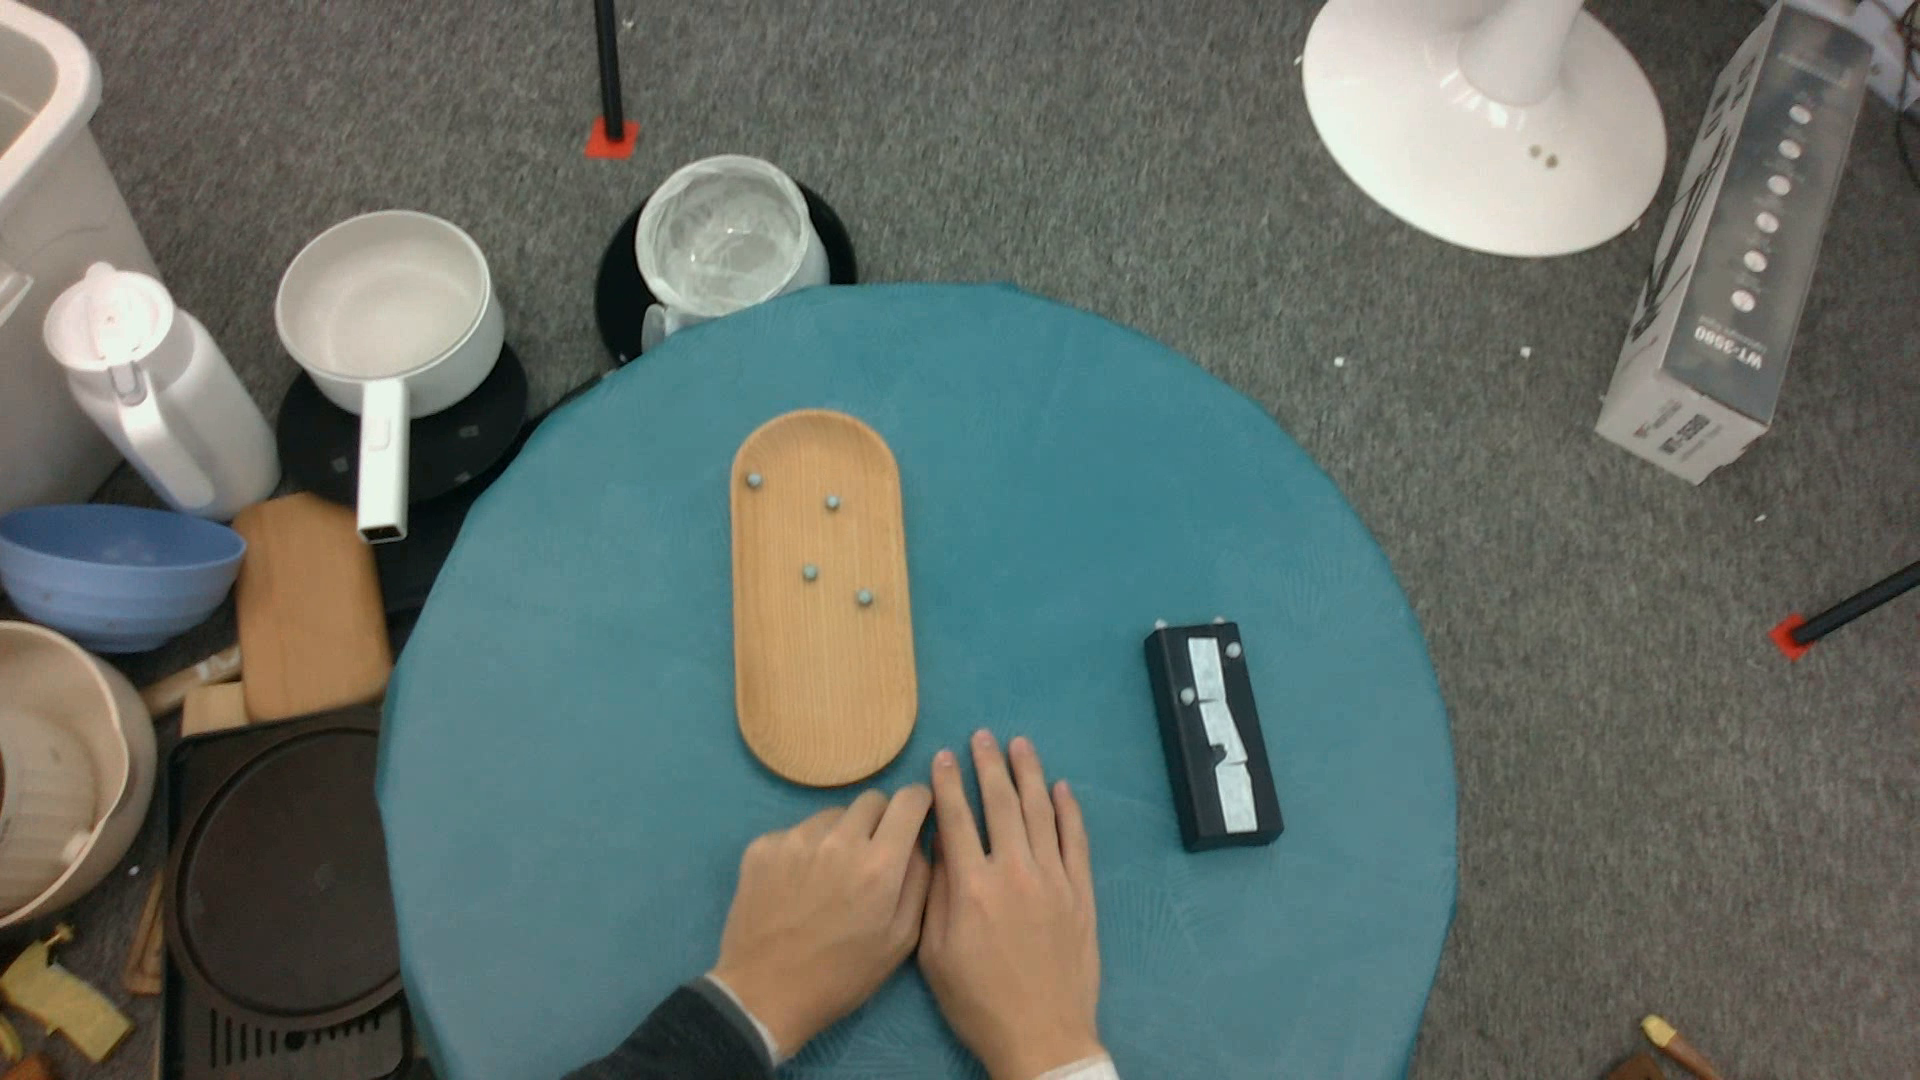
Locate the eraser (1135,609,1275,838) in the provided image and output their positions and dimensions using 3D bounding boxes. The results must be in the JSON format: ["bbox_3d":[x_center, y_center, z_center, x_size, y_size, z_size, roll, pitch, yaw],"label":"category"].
[{"bbox_3d":[0.137,0.104,0.783,0.053,0.030,0.126,-6,67,-9],"label":"eraser"}]

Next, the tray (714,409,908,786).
[{"bbox_3d":[-0.087,0.028,0.791,0.102,0.020,0.232,-3,67,-8],"label":"tray"}]
